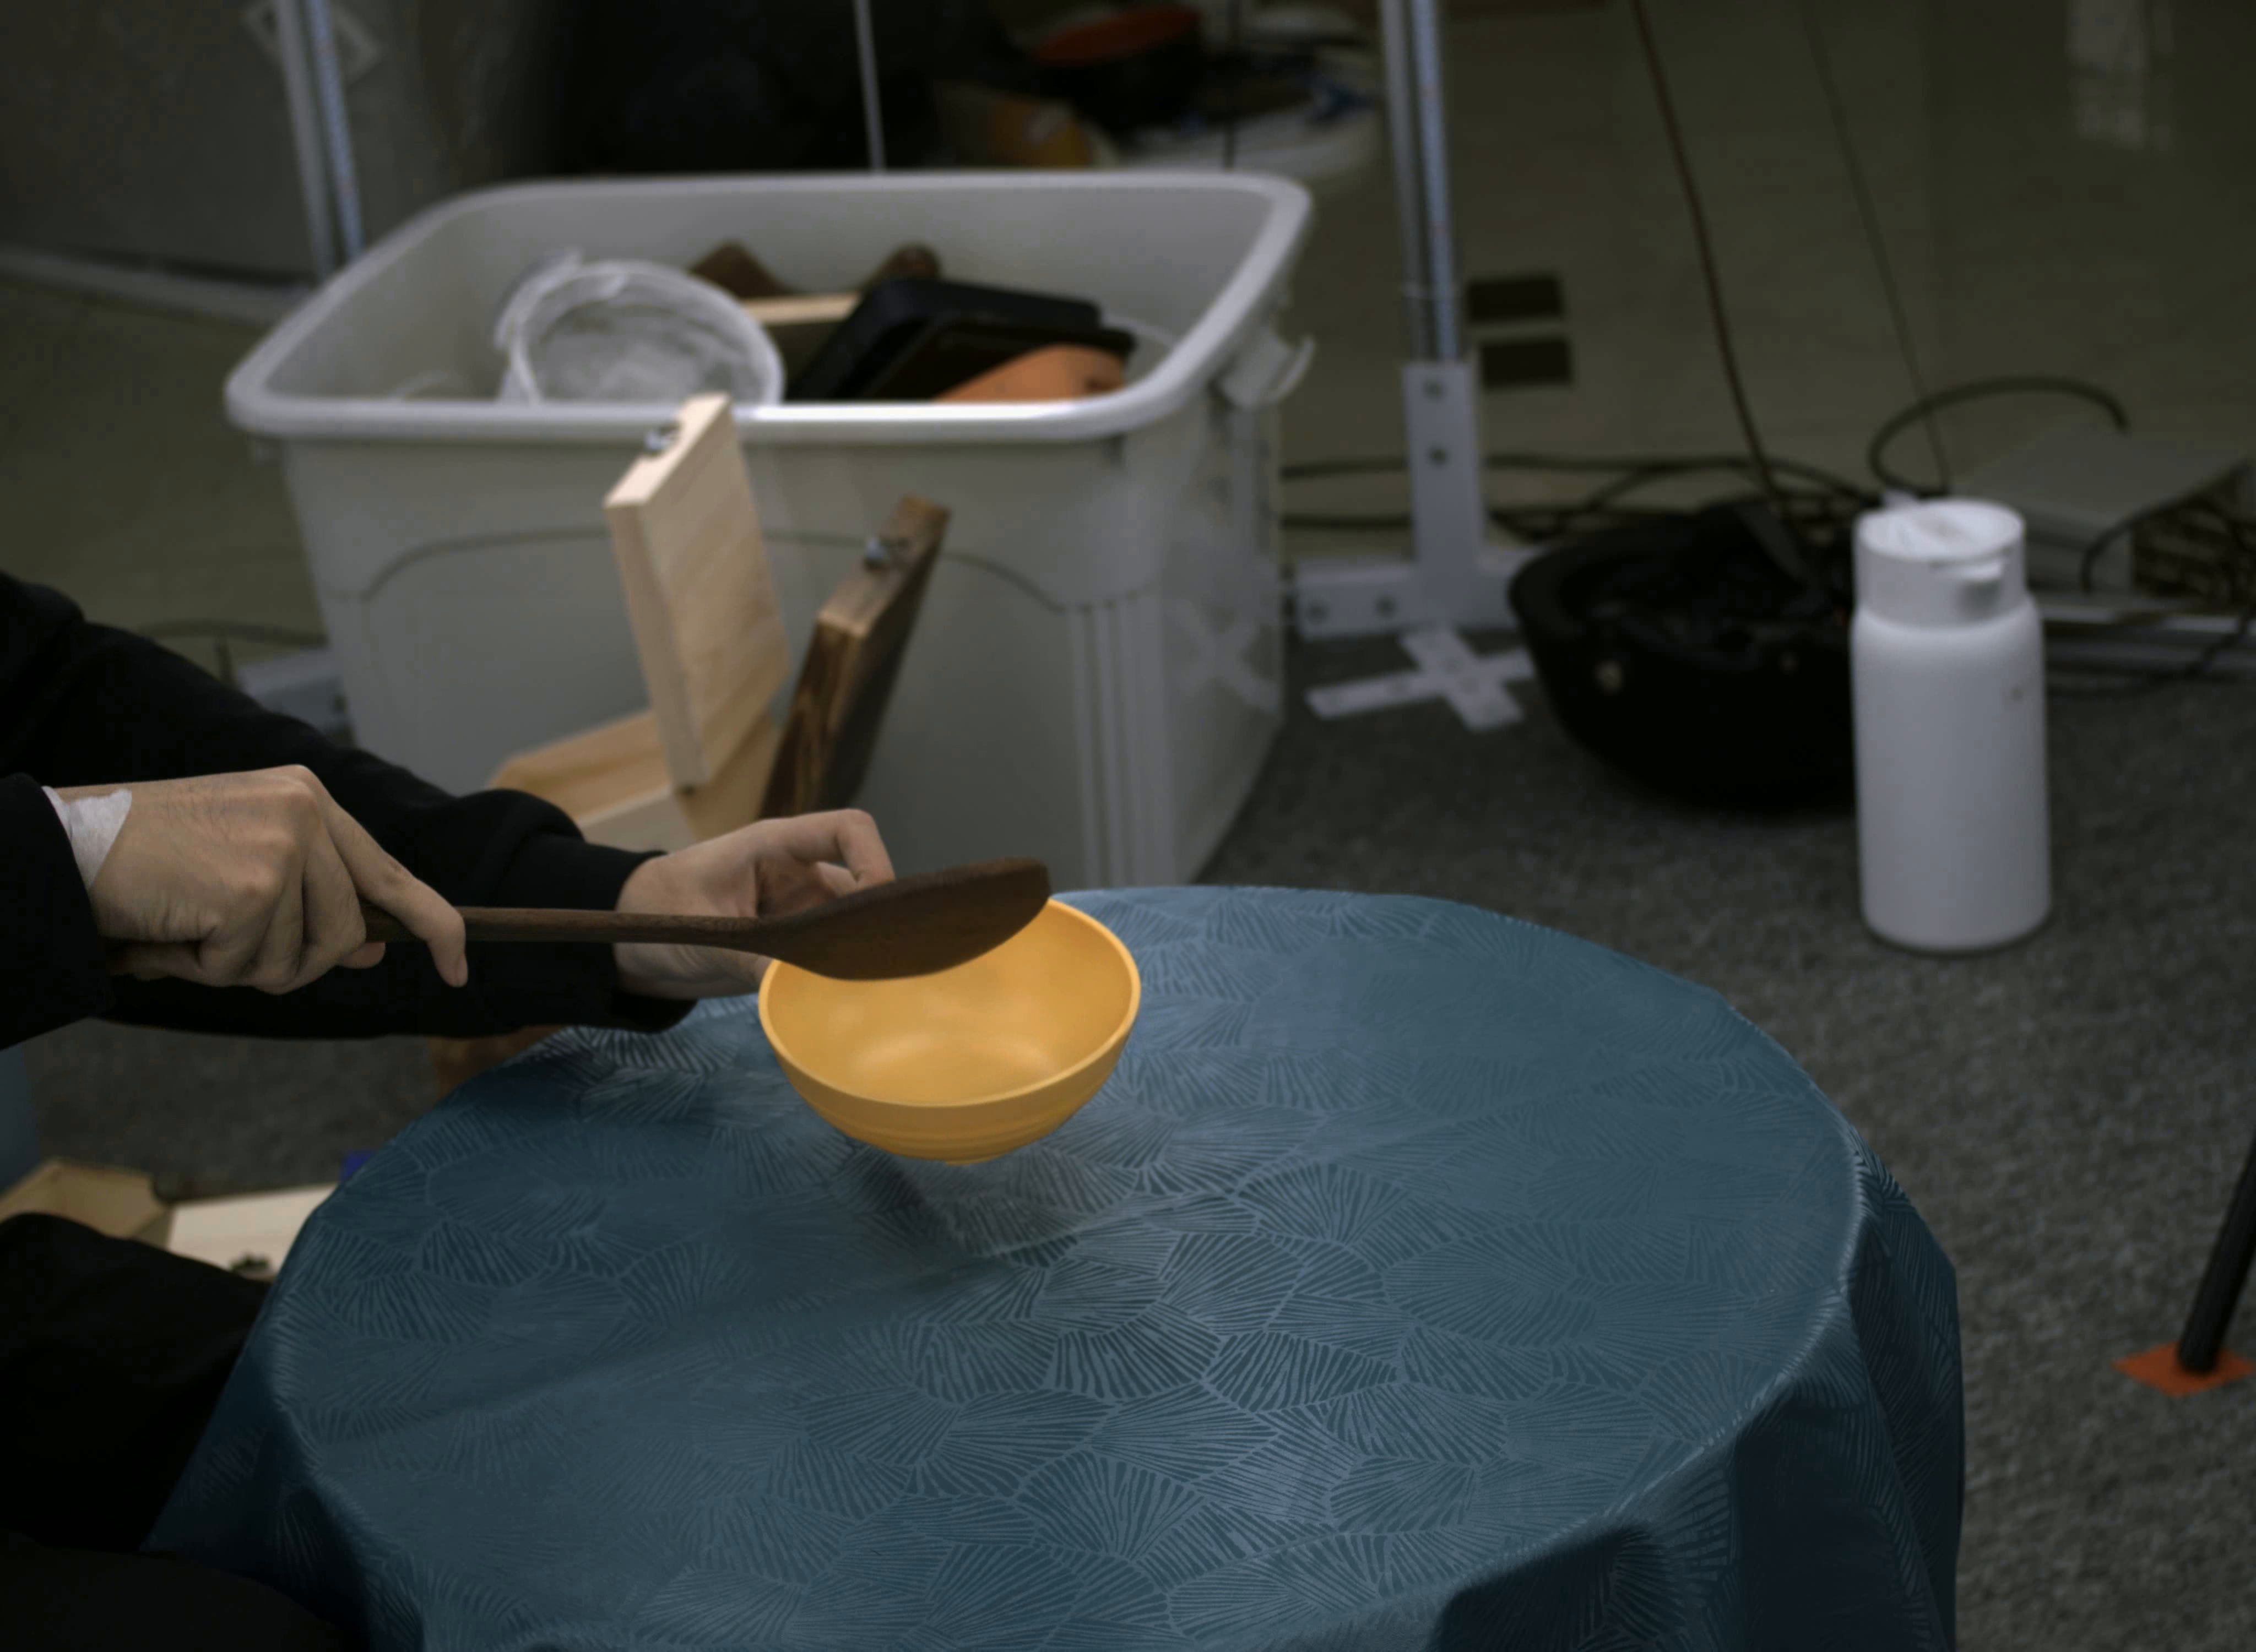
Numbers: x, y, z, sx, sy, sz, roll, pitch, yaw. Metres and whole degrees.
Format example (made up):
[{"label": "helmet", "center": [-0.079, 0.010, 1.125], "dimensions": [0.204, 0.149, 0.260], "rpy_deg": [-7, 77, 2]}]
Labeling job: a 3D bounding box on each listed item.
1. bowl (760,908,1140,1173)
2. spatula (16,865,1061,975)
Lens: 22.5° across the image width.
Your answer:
[{"label": "bowl", "center": [-0.067, 0.090, 2.155], "dimensions": [0.145, 0.061, 0.143], "rpy_deg": [-2, 31, 1]}, {"label": "spatula", "center": [-0.207, 0.036, 2.027], "dimensions": [0.385, 0.015, 0.097], "rpy_deg": [1, -21, -25]}]
